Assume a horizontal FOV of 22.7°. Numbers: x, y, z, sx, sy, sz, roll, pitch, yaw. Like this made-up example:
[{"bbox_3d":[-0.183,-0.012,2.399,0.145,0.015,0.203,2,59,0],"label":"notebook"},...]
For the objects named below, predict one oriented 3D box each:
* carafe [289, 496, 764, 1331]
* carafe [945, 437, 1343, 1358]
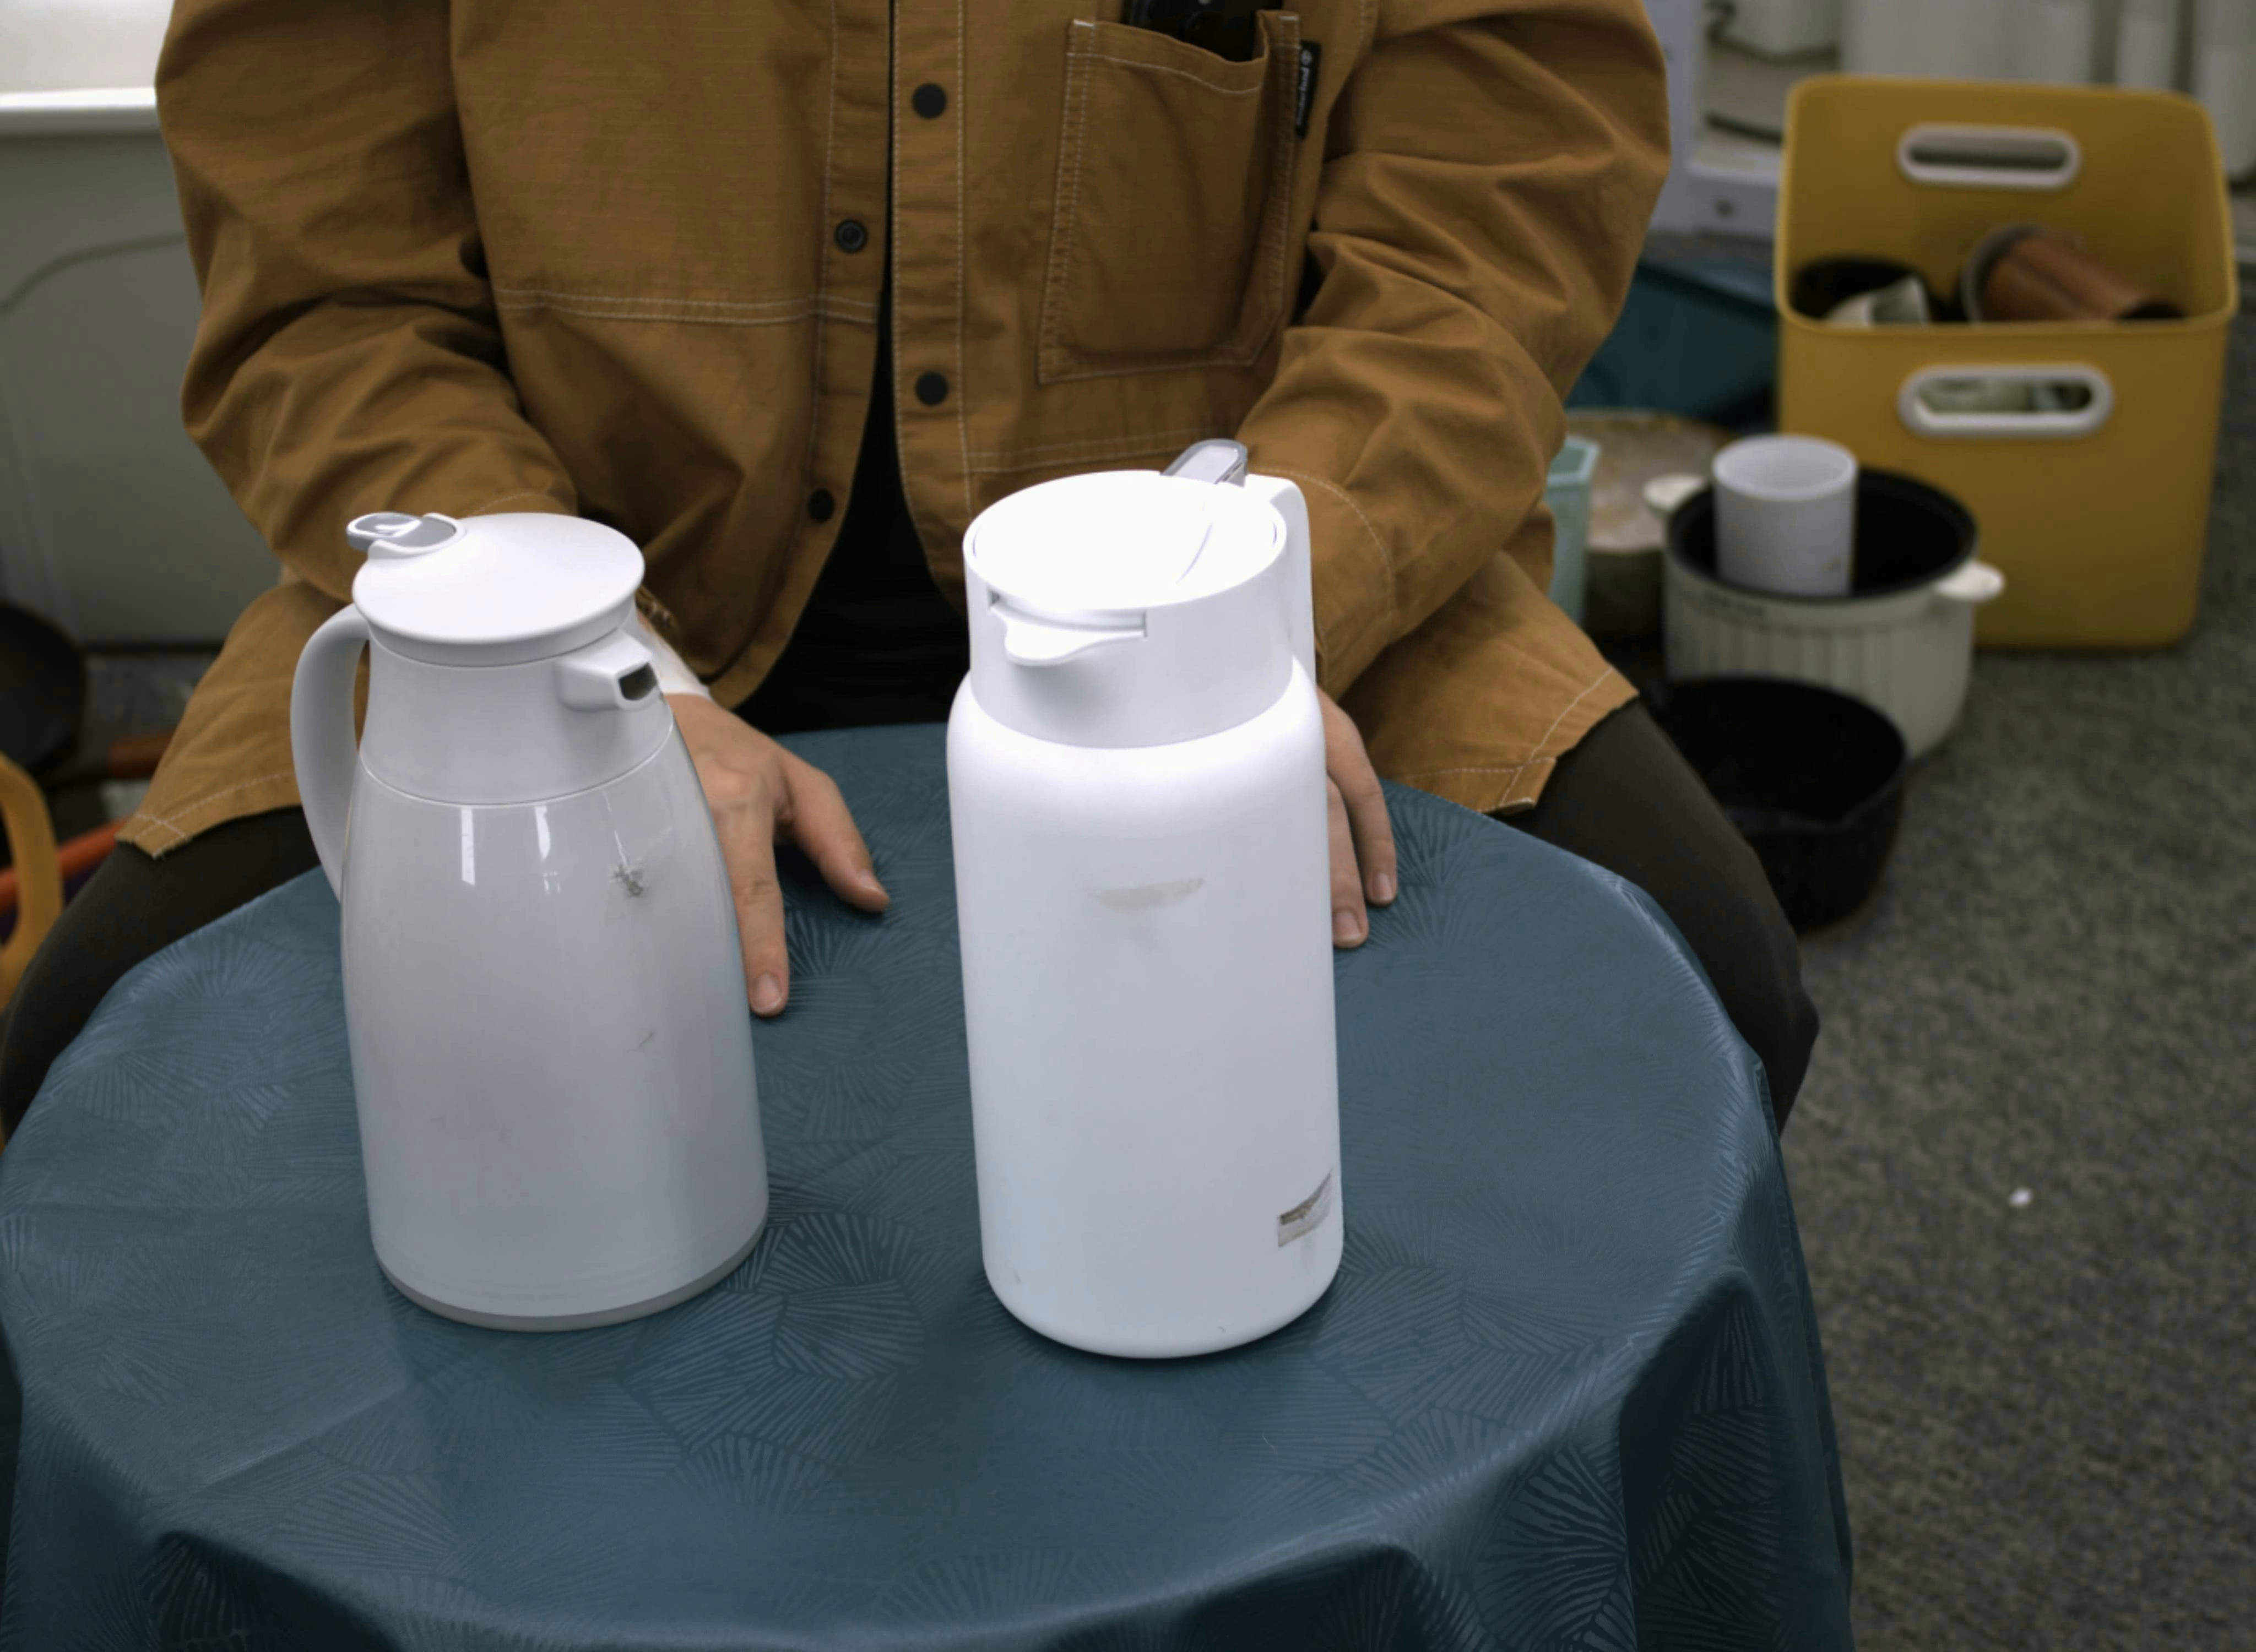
[{"bbox_3d":[-0.206,0.018,1.812,0.167,0.246,0.134,18,33,38],"label":"carafe"},{"bbox_3d":[0.011,0.019,1.770,0.123,0.266,0.176,7,28,24],"label":"carafe"}]
